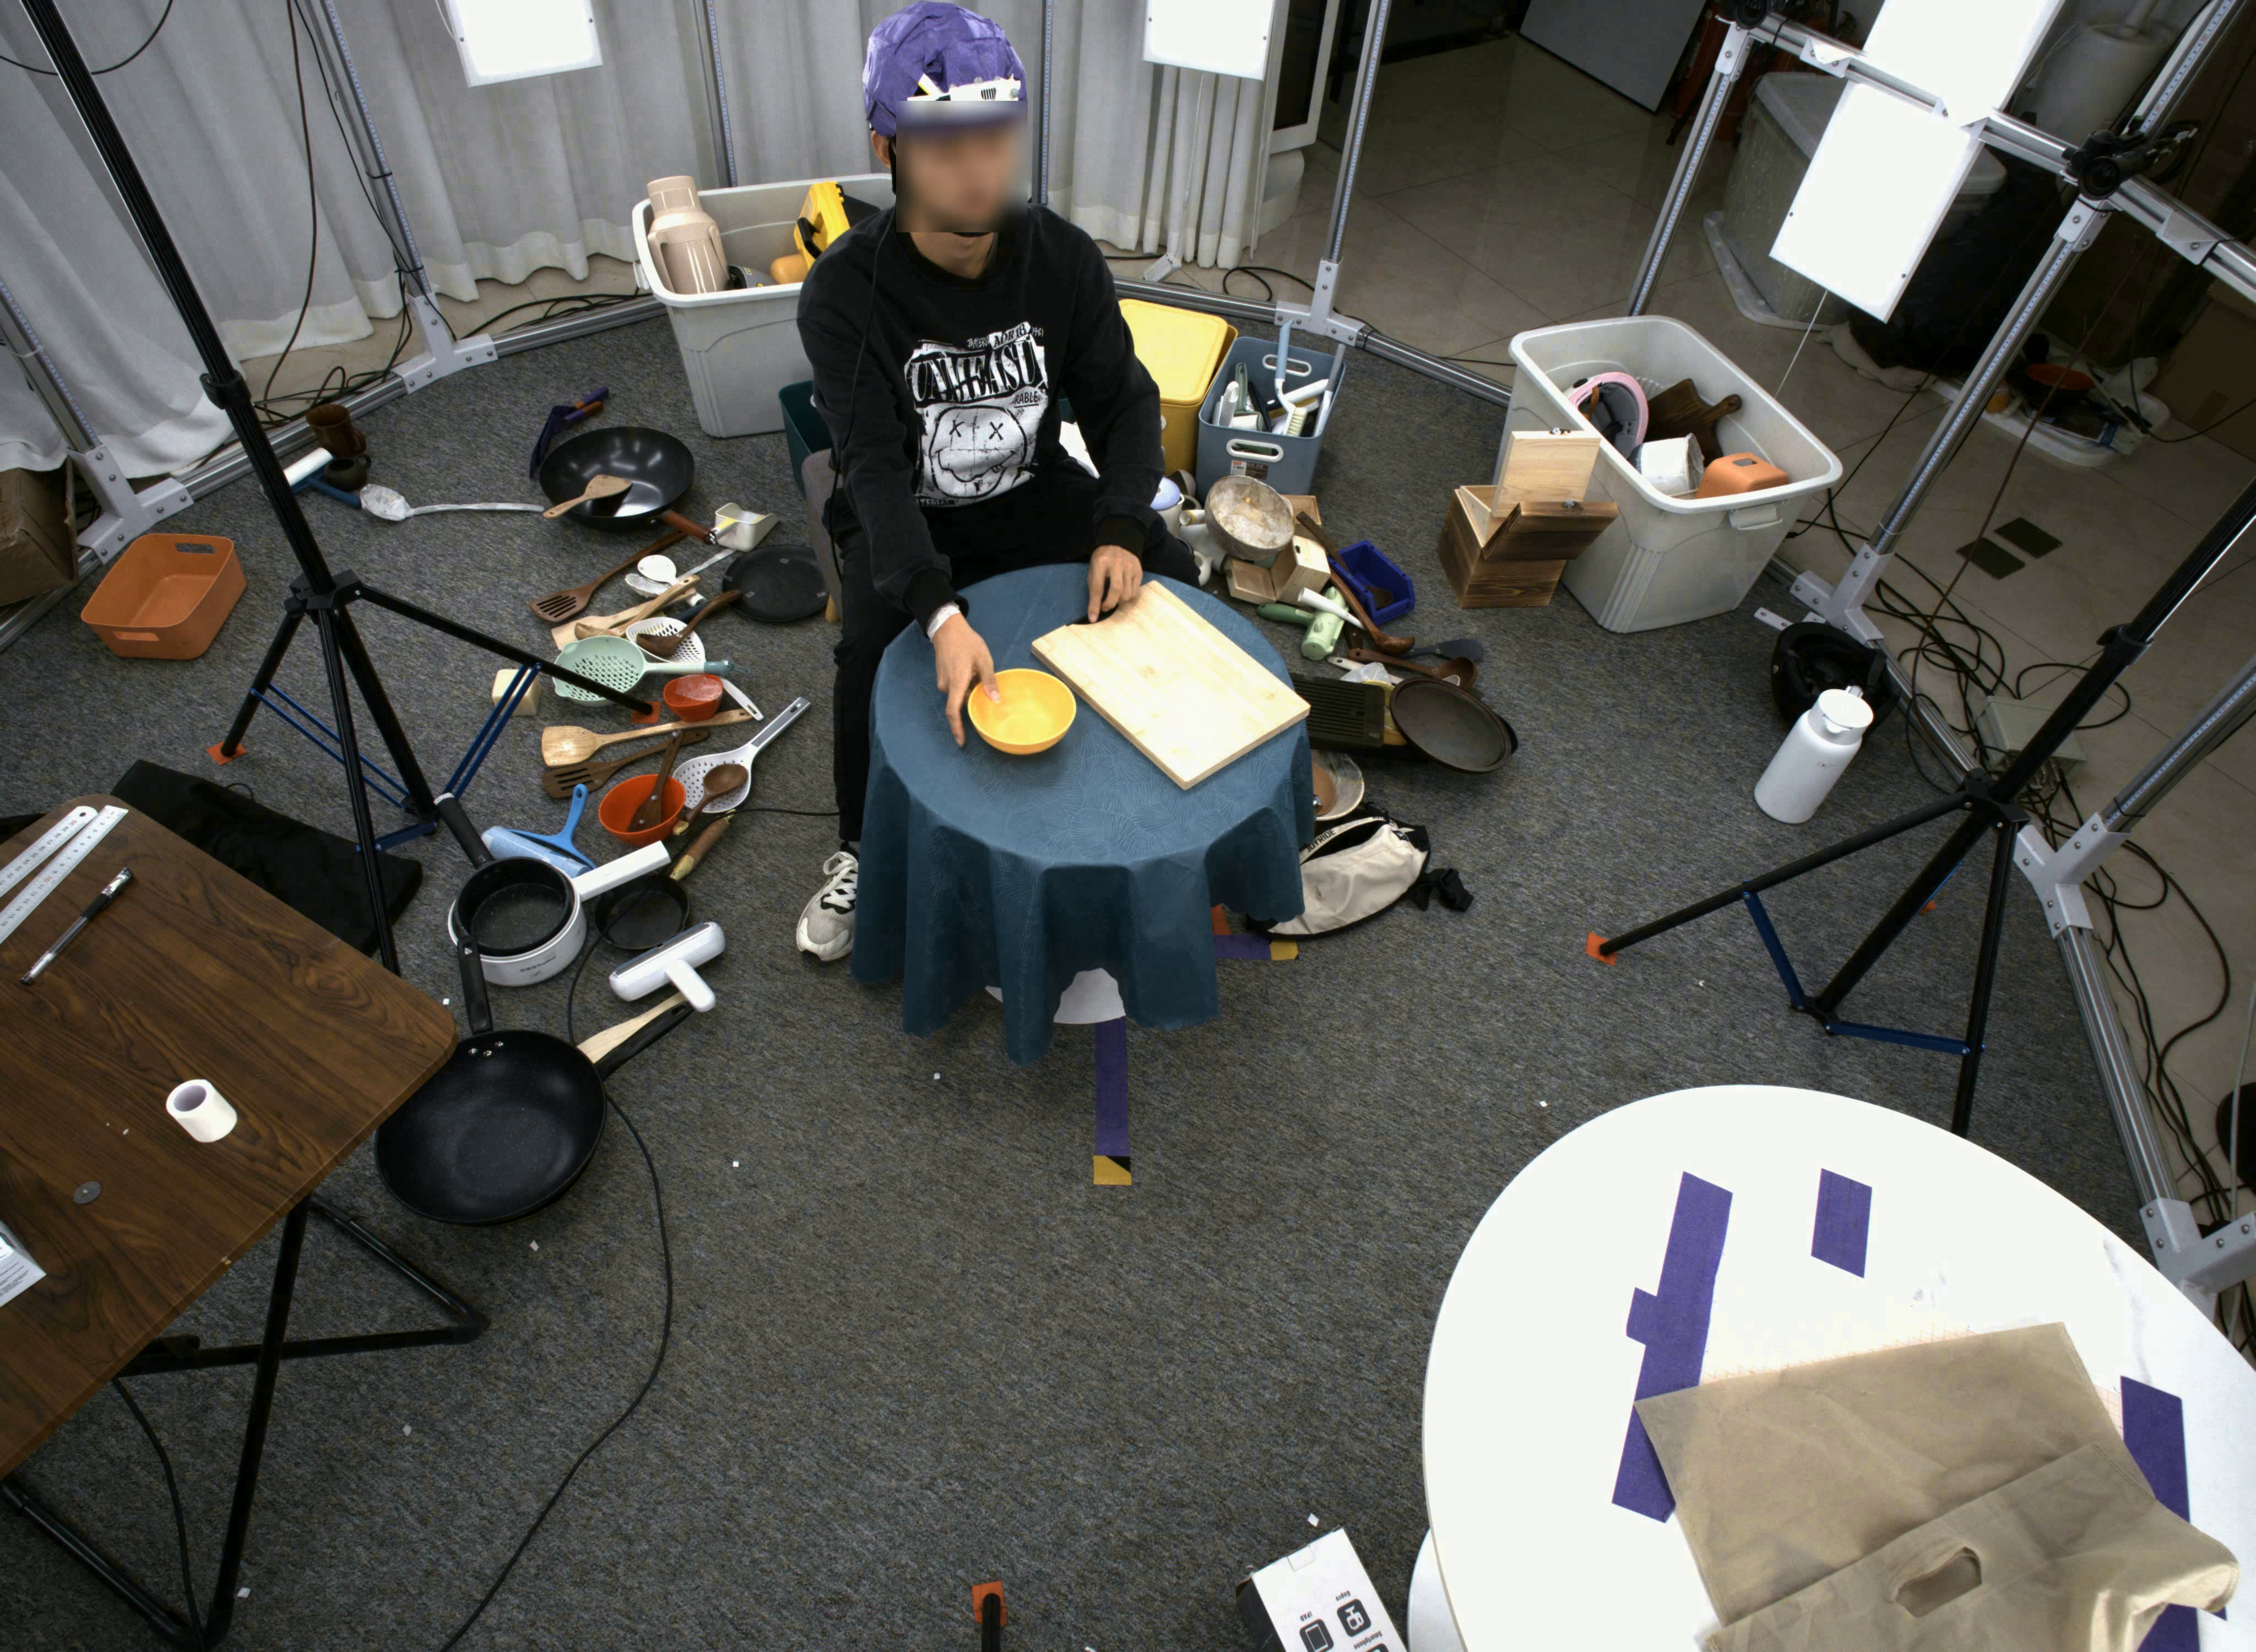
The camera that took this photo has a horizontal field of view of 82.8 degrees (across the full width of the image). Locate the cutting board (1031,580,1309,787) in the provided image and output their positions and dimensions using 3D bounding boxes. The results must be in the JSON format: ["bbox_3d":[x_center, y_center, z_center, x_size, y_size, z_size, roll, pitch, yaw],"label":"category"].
[{"bbox_3d":[0.057,-0.216,1.866,0.252,0.023,0.354,-31,58,-27],"label":"cutting board"}]

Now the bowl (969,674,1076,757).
[{"bbox_3d":[-0.145,-0.141,1.761,0.145,0.058,0.149,2,46,-3],"label":"bowl"}]
